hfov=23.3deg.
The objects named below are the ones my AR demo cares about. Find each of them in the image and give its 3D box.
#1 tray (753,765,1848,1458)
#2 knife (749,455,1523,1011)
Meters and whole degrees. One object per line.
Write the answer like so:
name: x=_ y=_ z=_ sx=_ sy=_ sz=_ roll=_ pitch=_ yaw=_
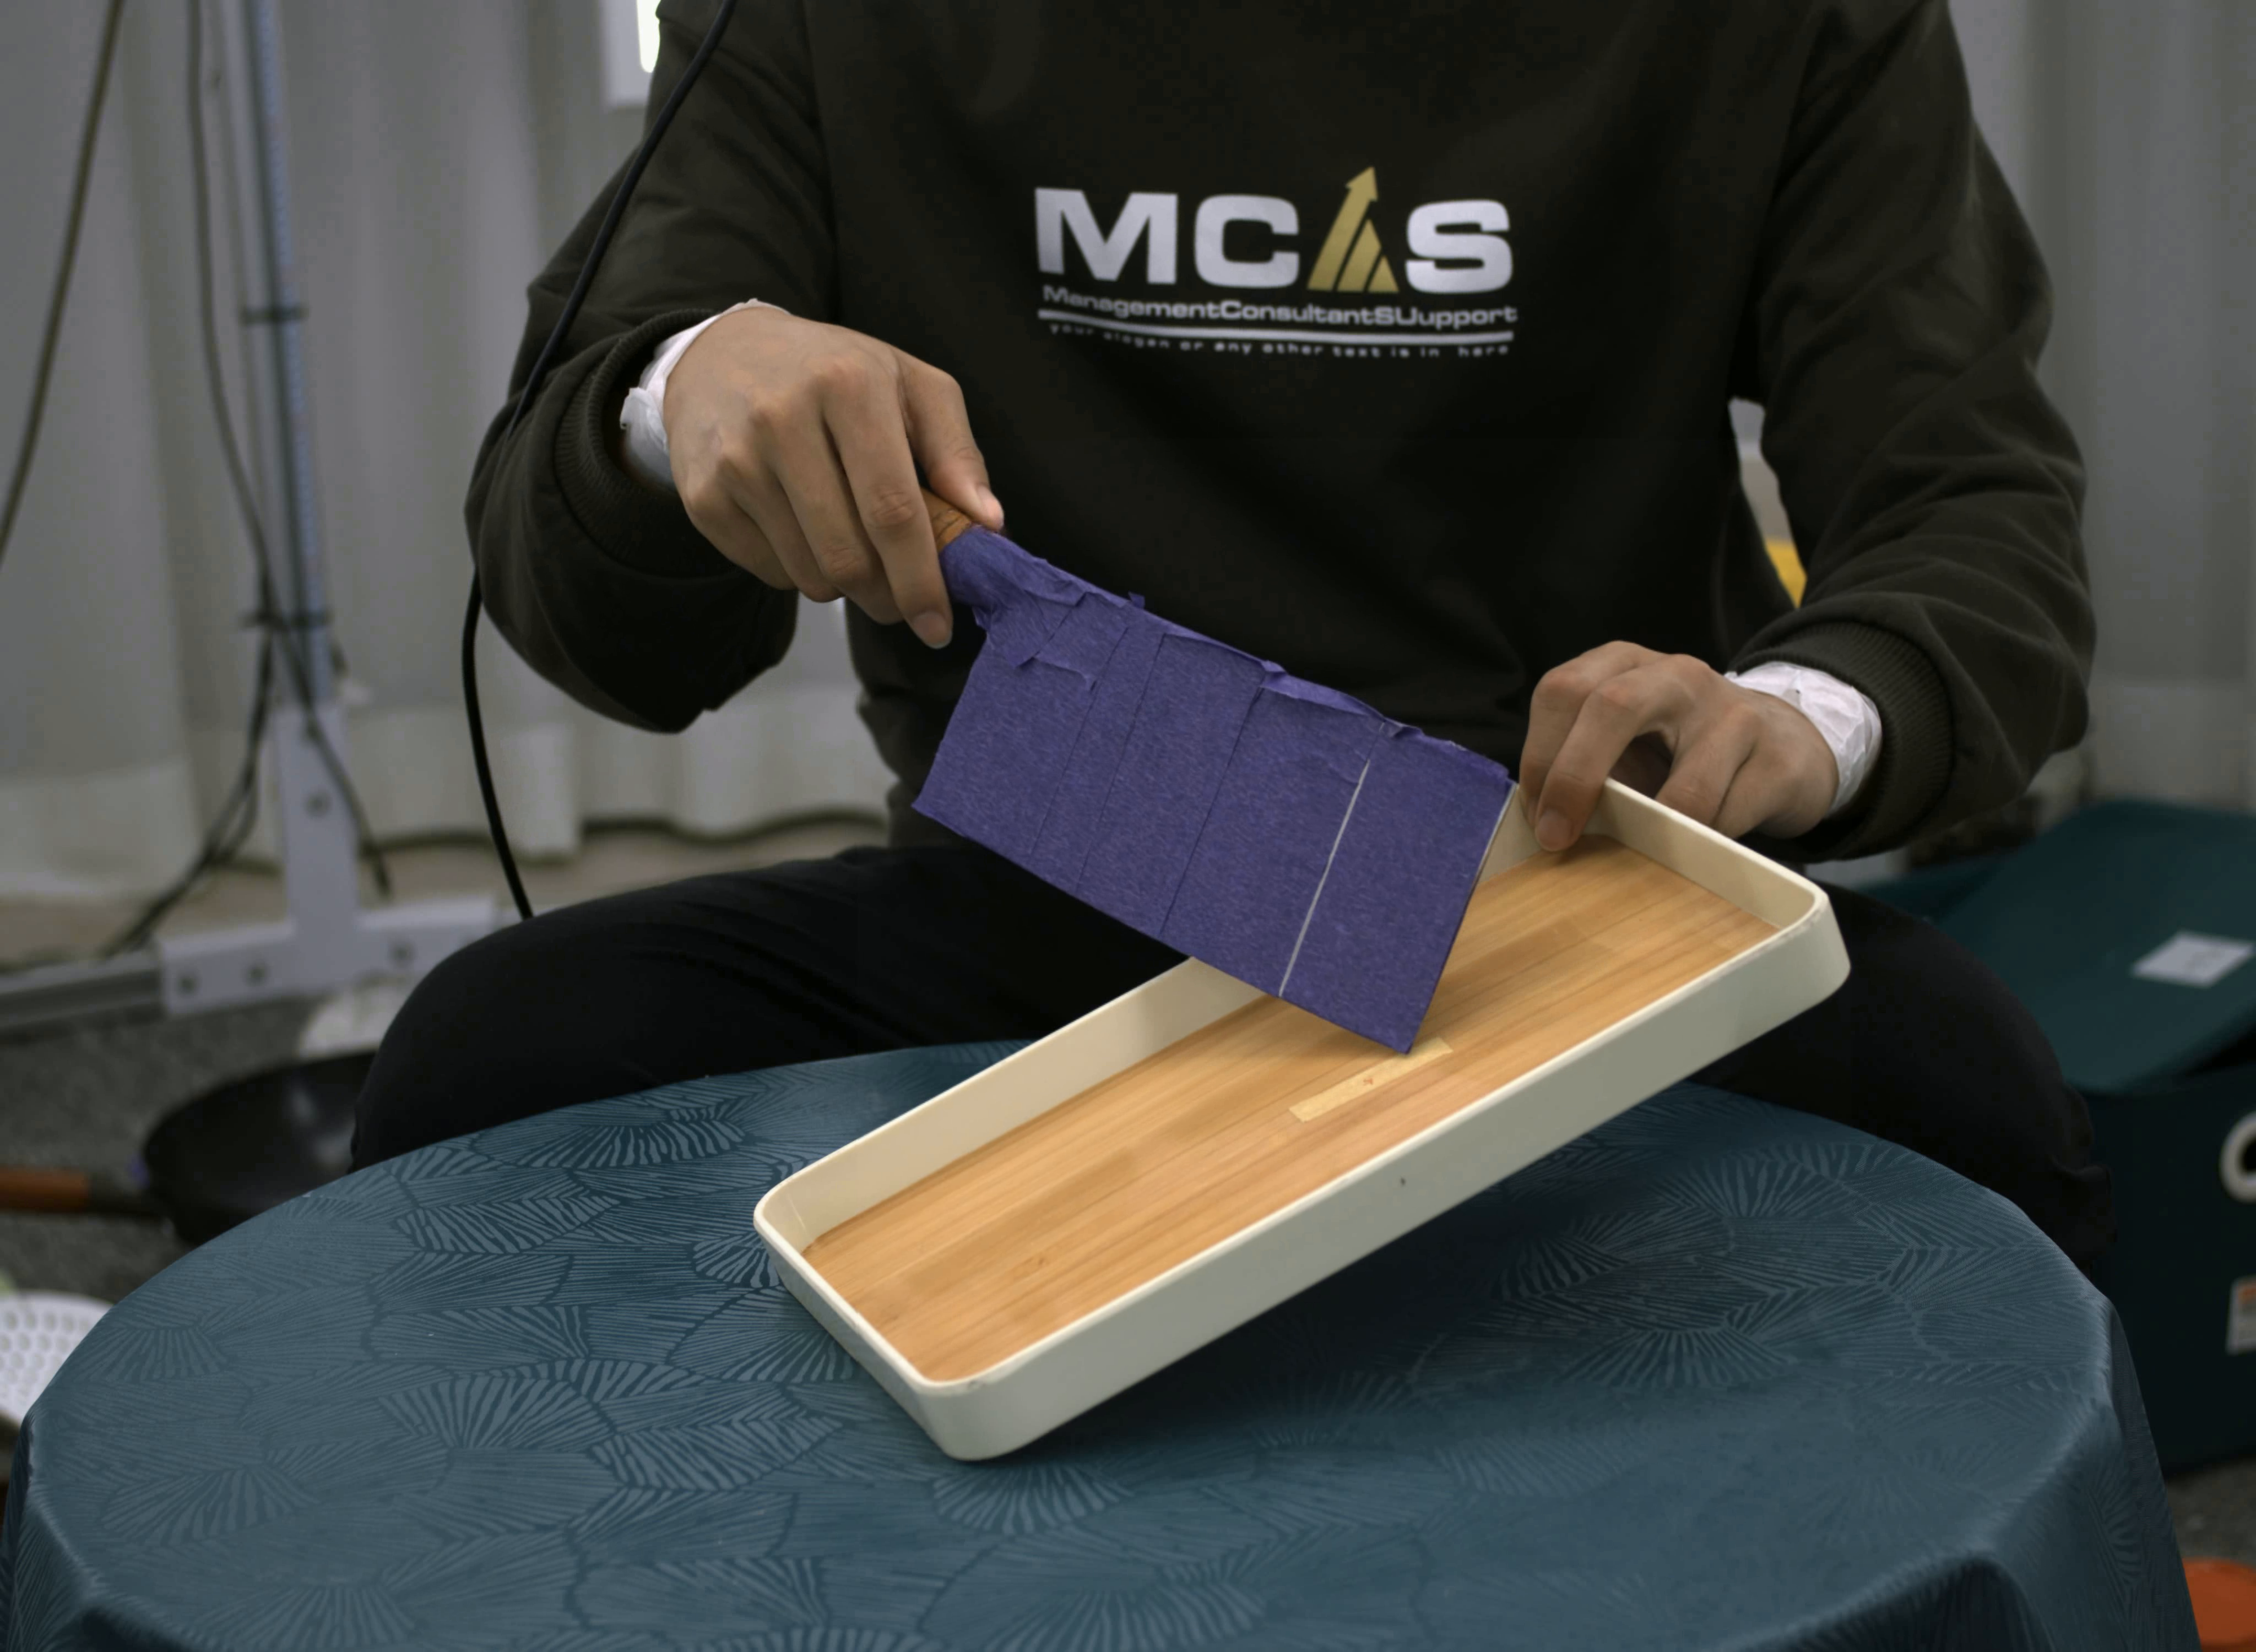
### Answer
tray: x=0.047 y=0.078 z=1.604 sx=0.300 sy=0.027 sz=0.193 roll=-28 pitch=21 yaw=-13
knife: x=-0.015 y=-0.030 z=1.697 sx=0.318 sy=0.104 sz=0.032 roll=25 pitch=2 yaw=39
